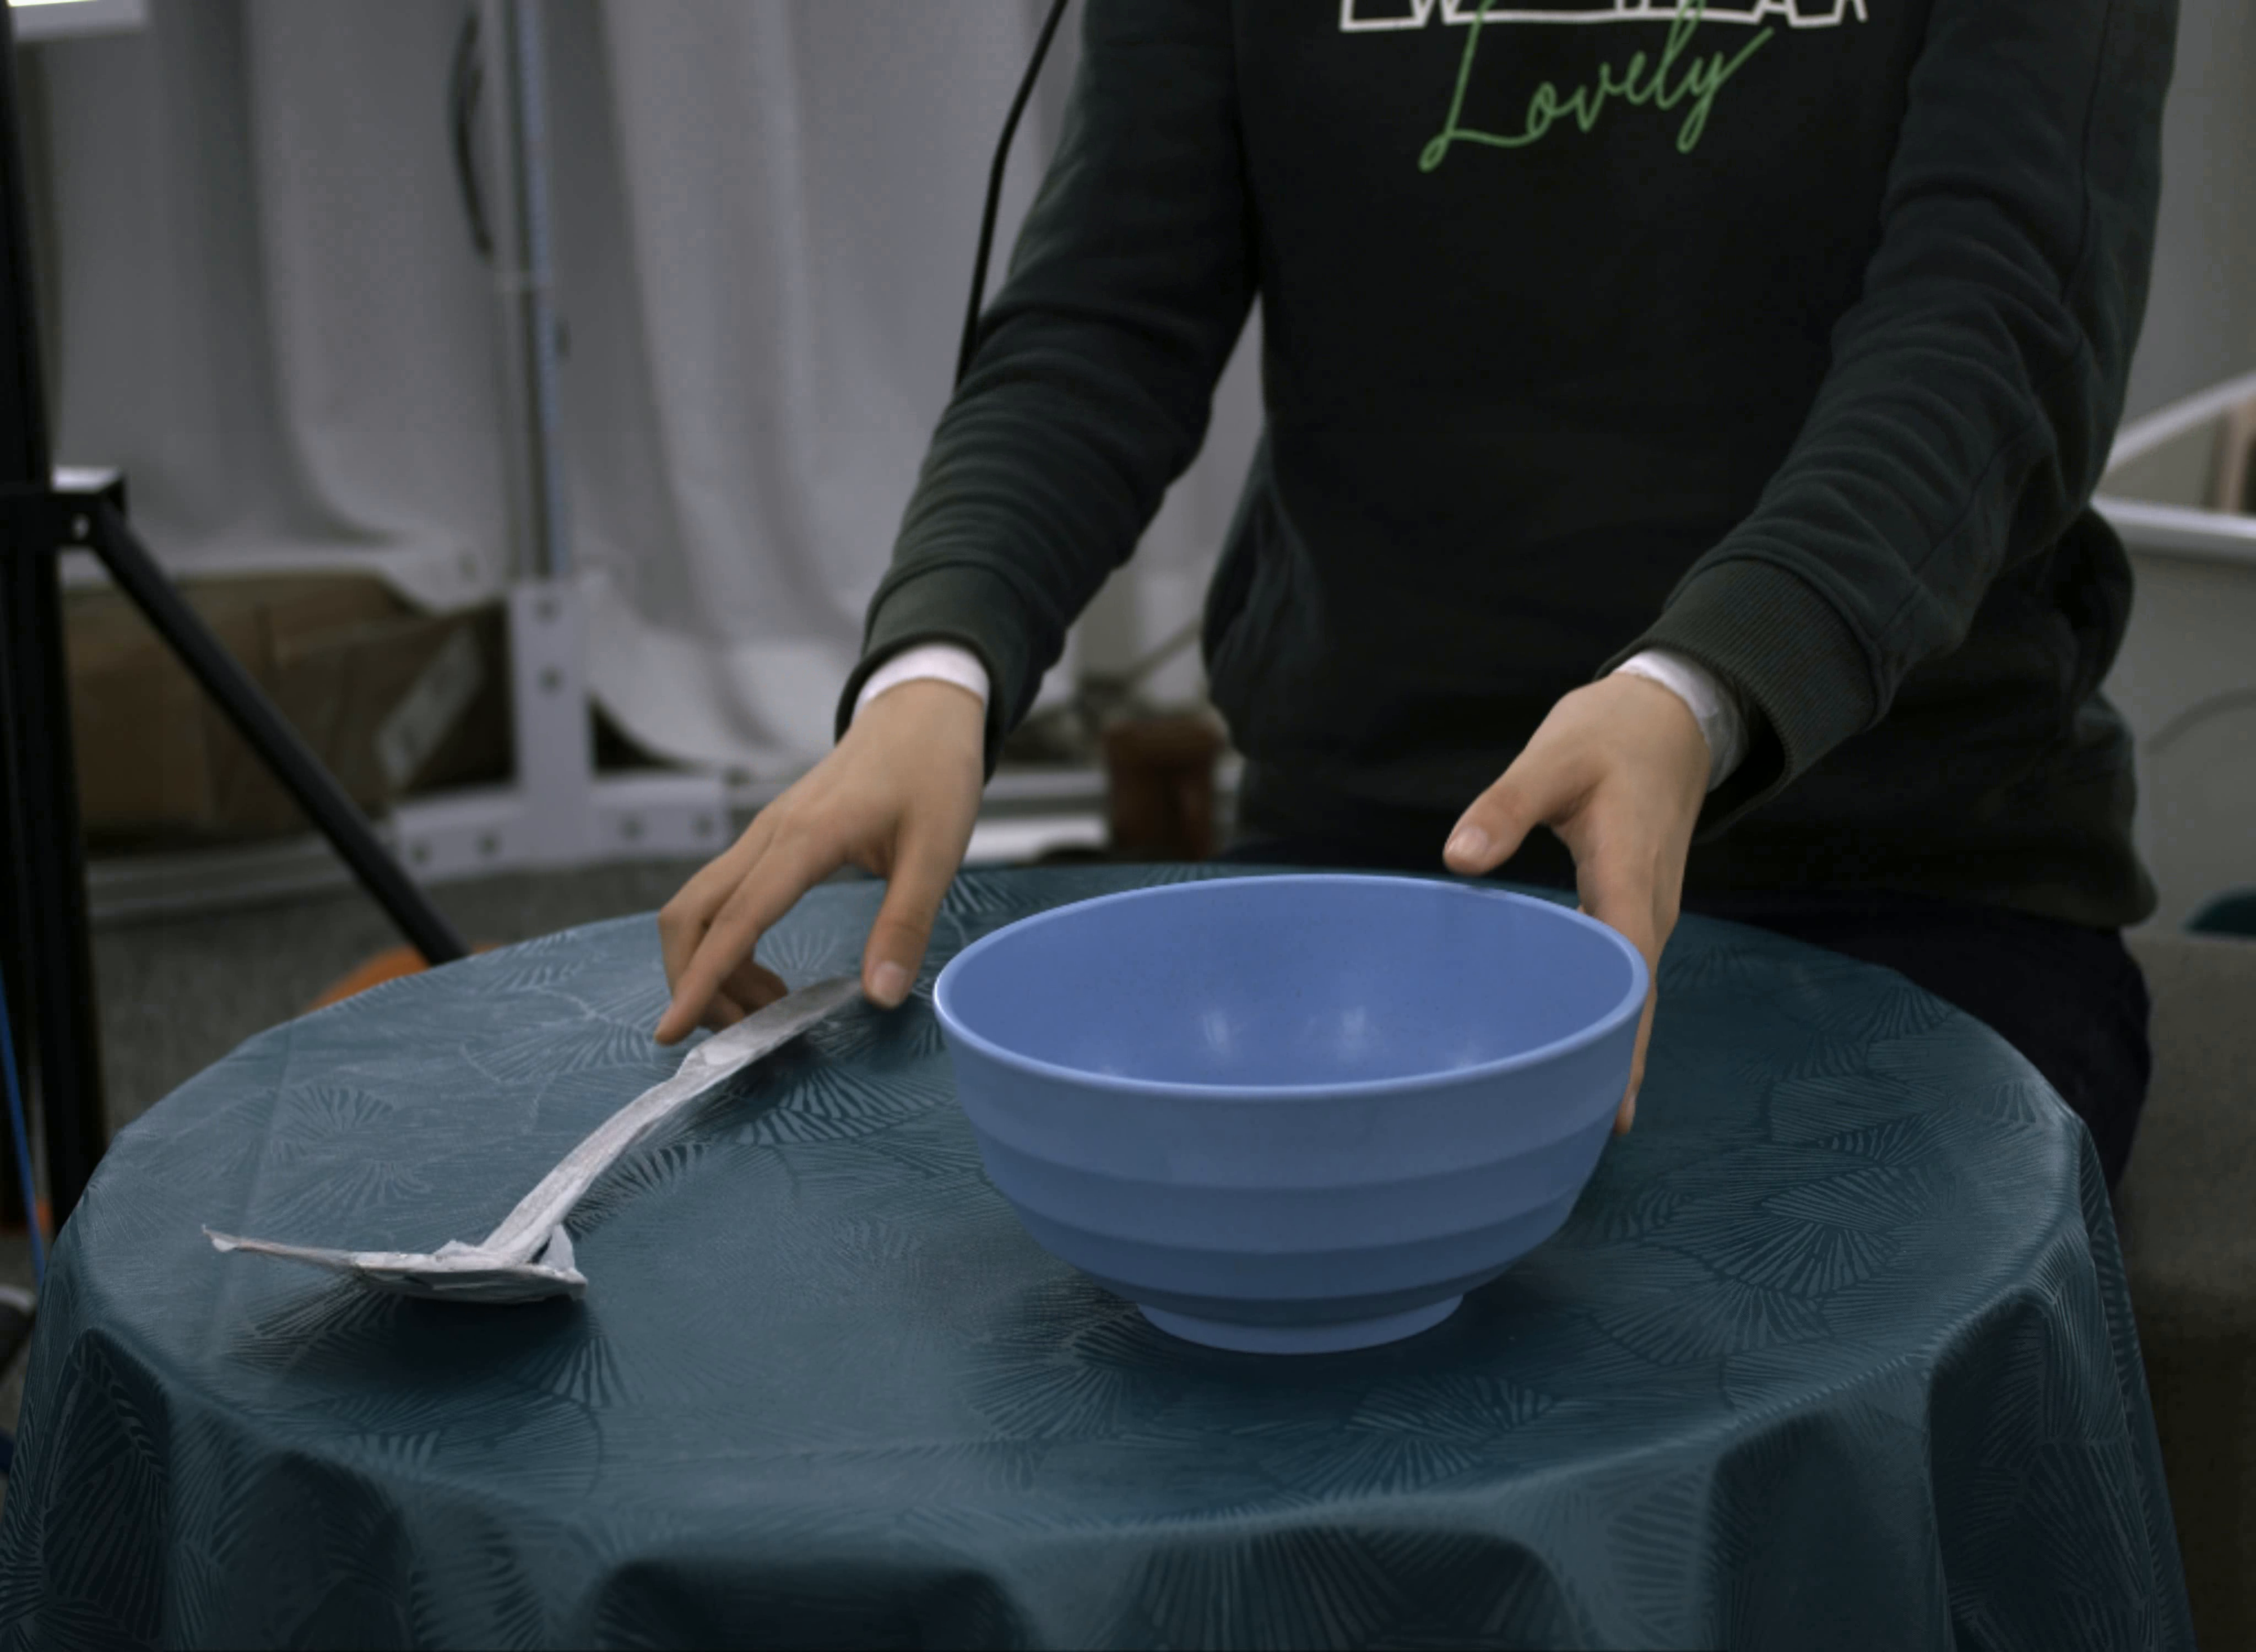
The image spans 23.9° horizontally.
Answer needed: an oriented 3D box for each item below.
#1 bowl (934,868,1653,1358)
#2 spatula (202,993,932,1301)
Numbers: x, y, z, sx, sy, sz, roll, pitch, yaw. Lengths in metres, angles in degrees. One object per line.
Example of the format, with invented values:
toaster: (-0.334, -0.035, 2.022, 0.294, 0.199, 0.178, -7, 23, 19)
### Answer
bowl: (0.047, 0.085, 1.457, 0.195, 0.095, 0.197, -3, 17, 0)
spatula: (-0.145, 0.086, 1.589, 0.100, 0.045, 0.360, 2, 17, 23)
